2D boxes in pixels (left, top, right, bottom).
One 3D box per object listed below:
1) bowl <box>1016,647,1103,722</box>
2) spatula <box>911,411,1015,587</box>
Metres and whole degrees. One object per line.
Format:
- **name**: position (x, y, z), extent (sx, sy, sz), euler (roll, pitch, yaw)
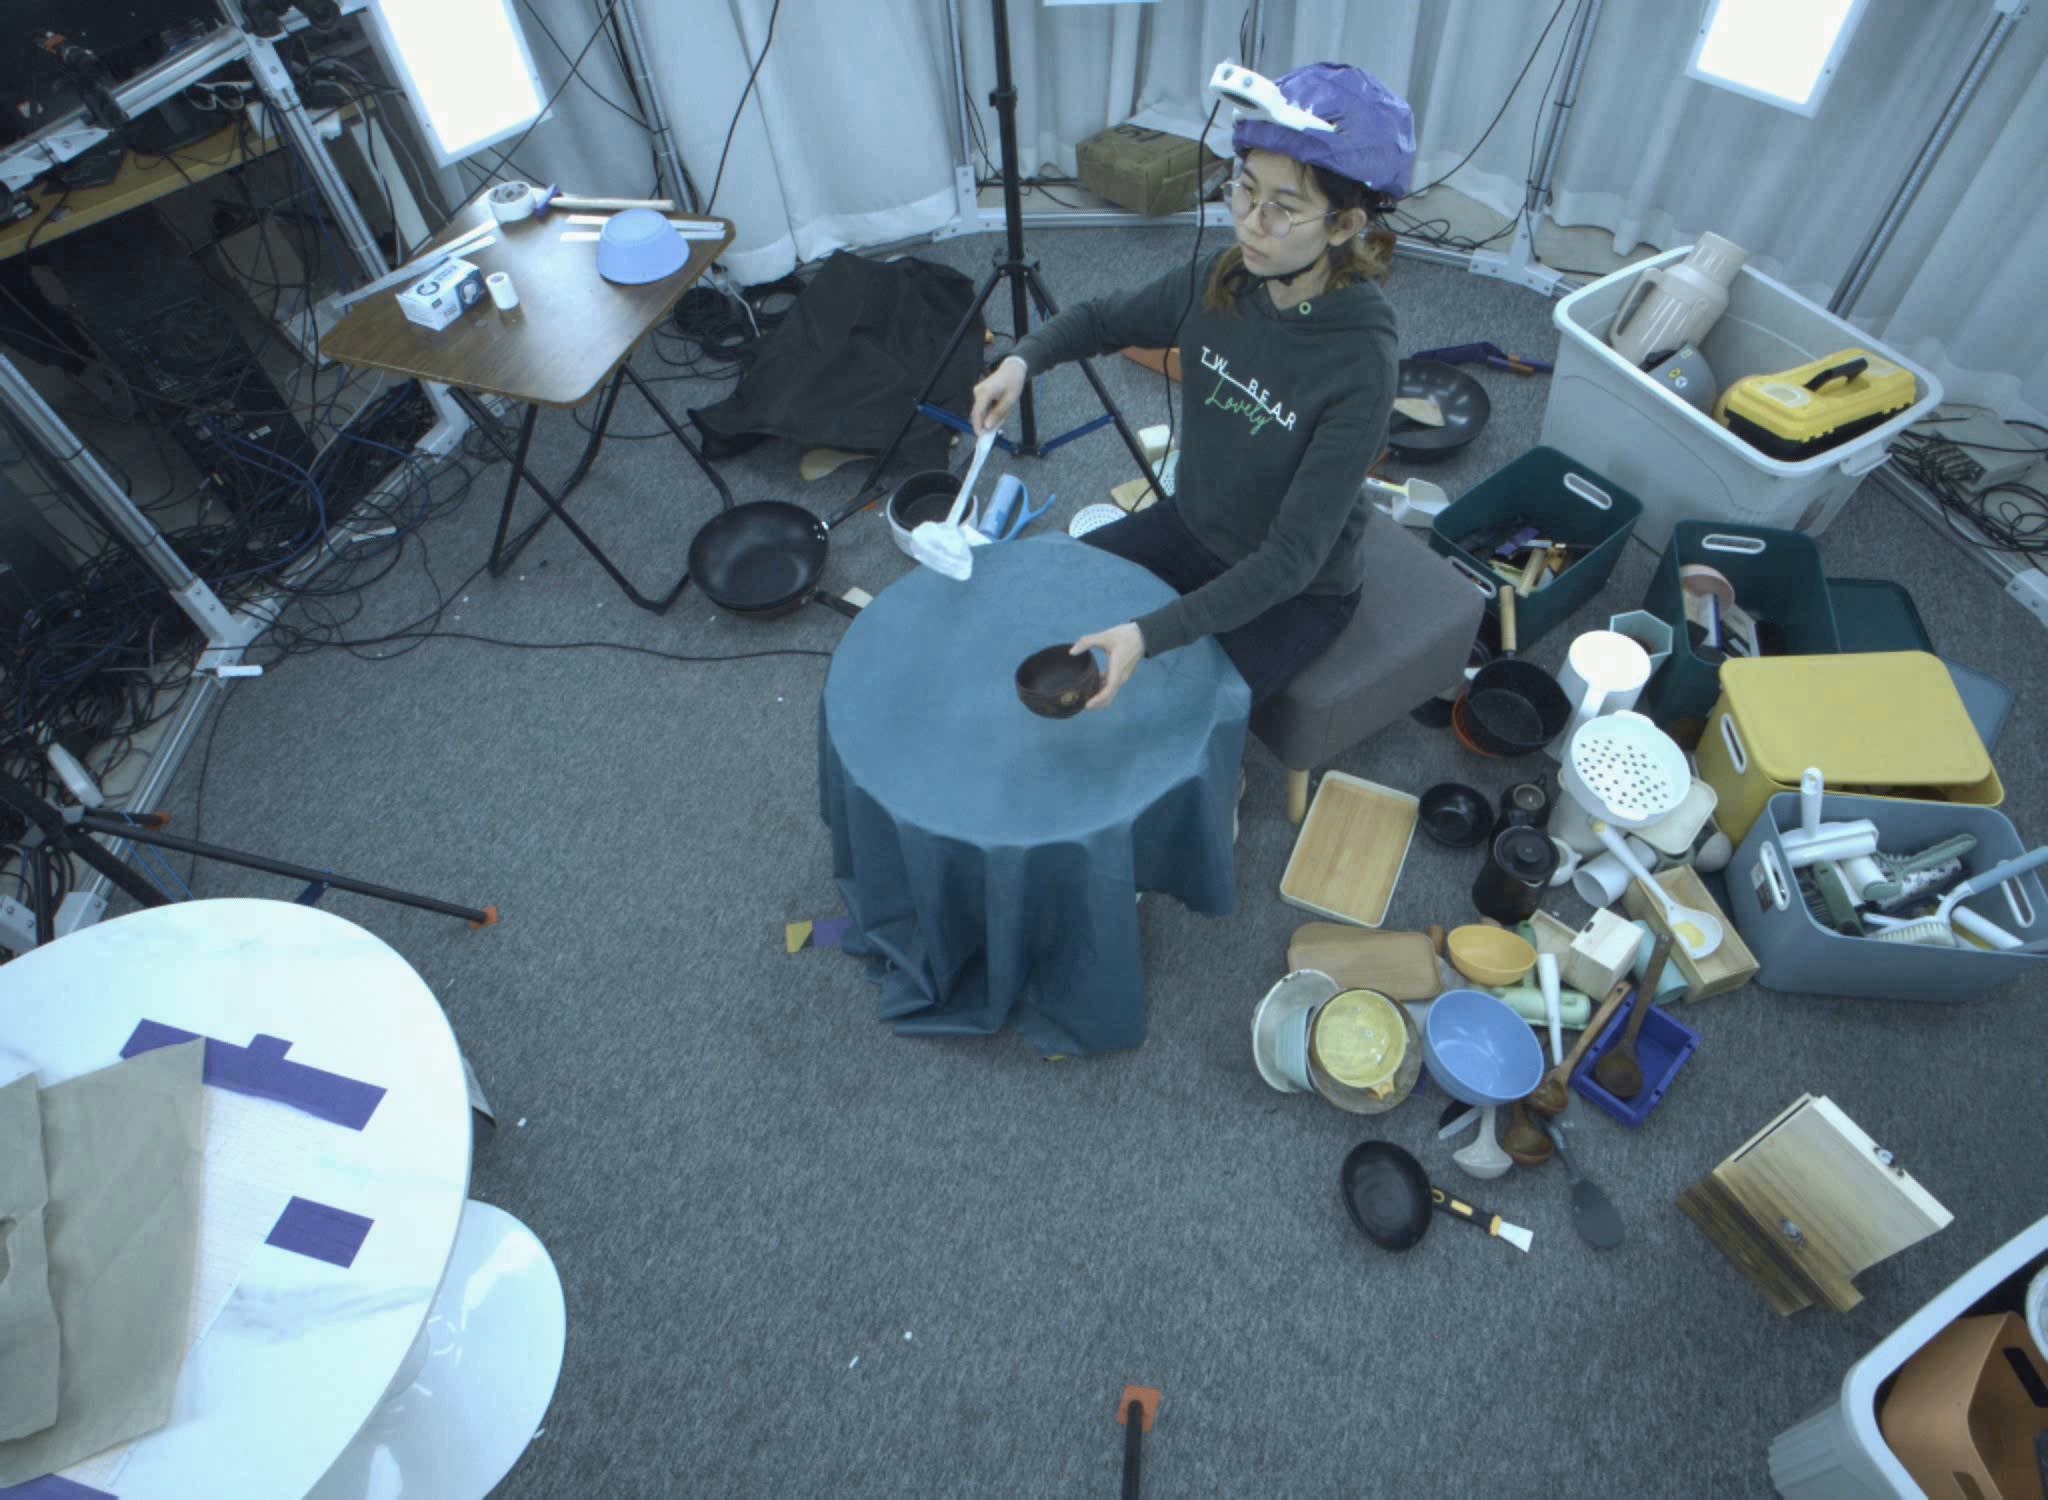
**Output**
- **bowl**: position (0.053, -0.082, 1.707), extent (0.117, 0.071, 0.117), euler (-10, 38, 9)
- **spatula**: position (-0.075, -0.392, 1.812), extent (0.100, 0.044, 0.364), euler (27, 65, -16)
